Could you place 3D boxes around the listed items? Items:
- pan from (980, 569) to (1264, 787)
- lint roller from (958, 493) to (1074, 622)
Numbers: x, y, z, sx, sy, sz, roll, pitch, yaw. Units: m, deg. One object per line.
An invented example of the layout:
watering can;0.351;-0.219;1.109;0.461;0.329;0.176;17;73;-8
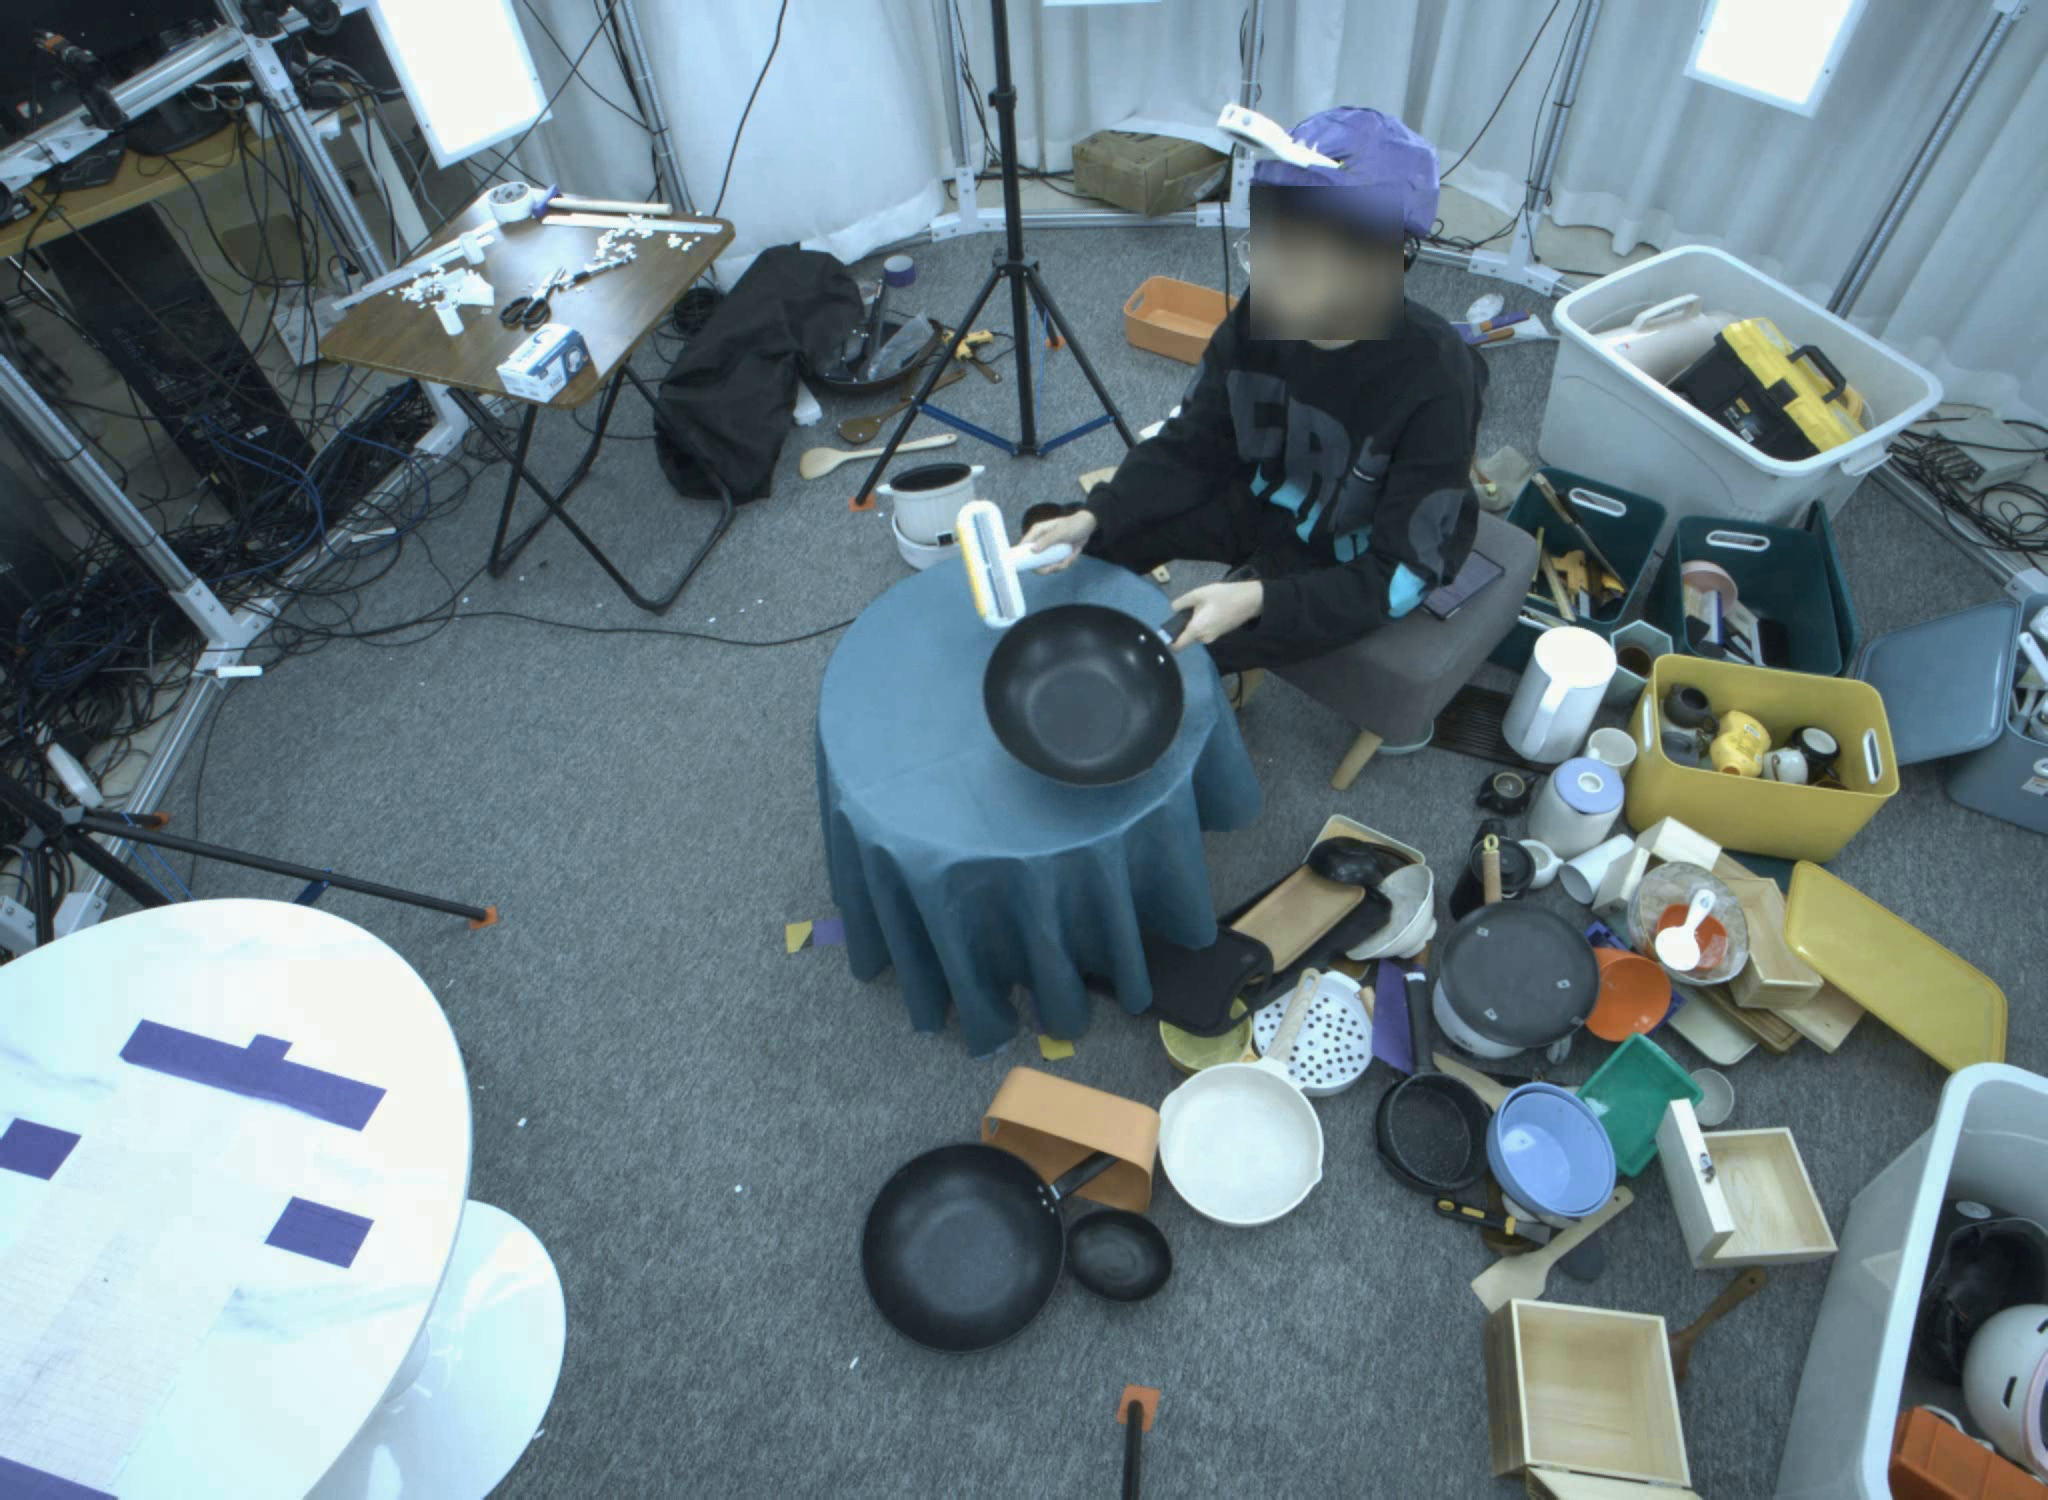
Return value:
pan;0.151;-0.119;1.743;0.466;0.087;0.285;-36;76;-16
lint roller;-0.003;-0.298;1.863;0.195;0.073;0.193;-13;95;-25
